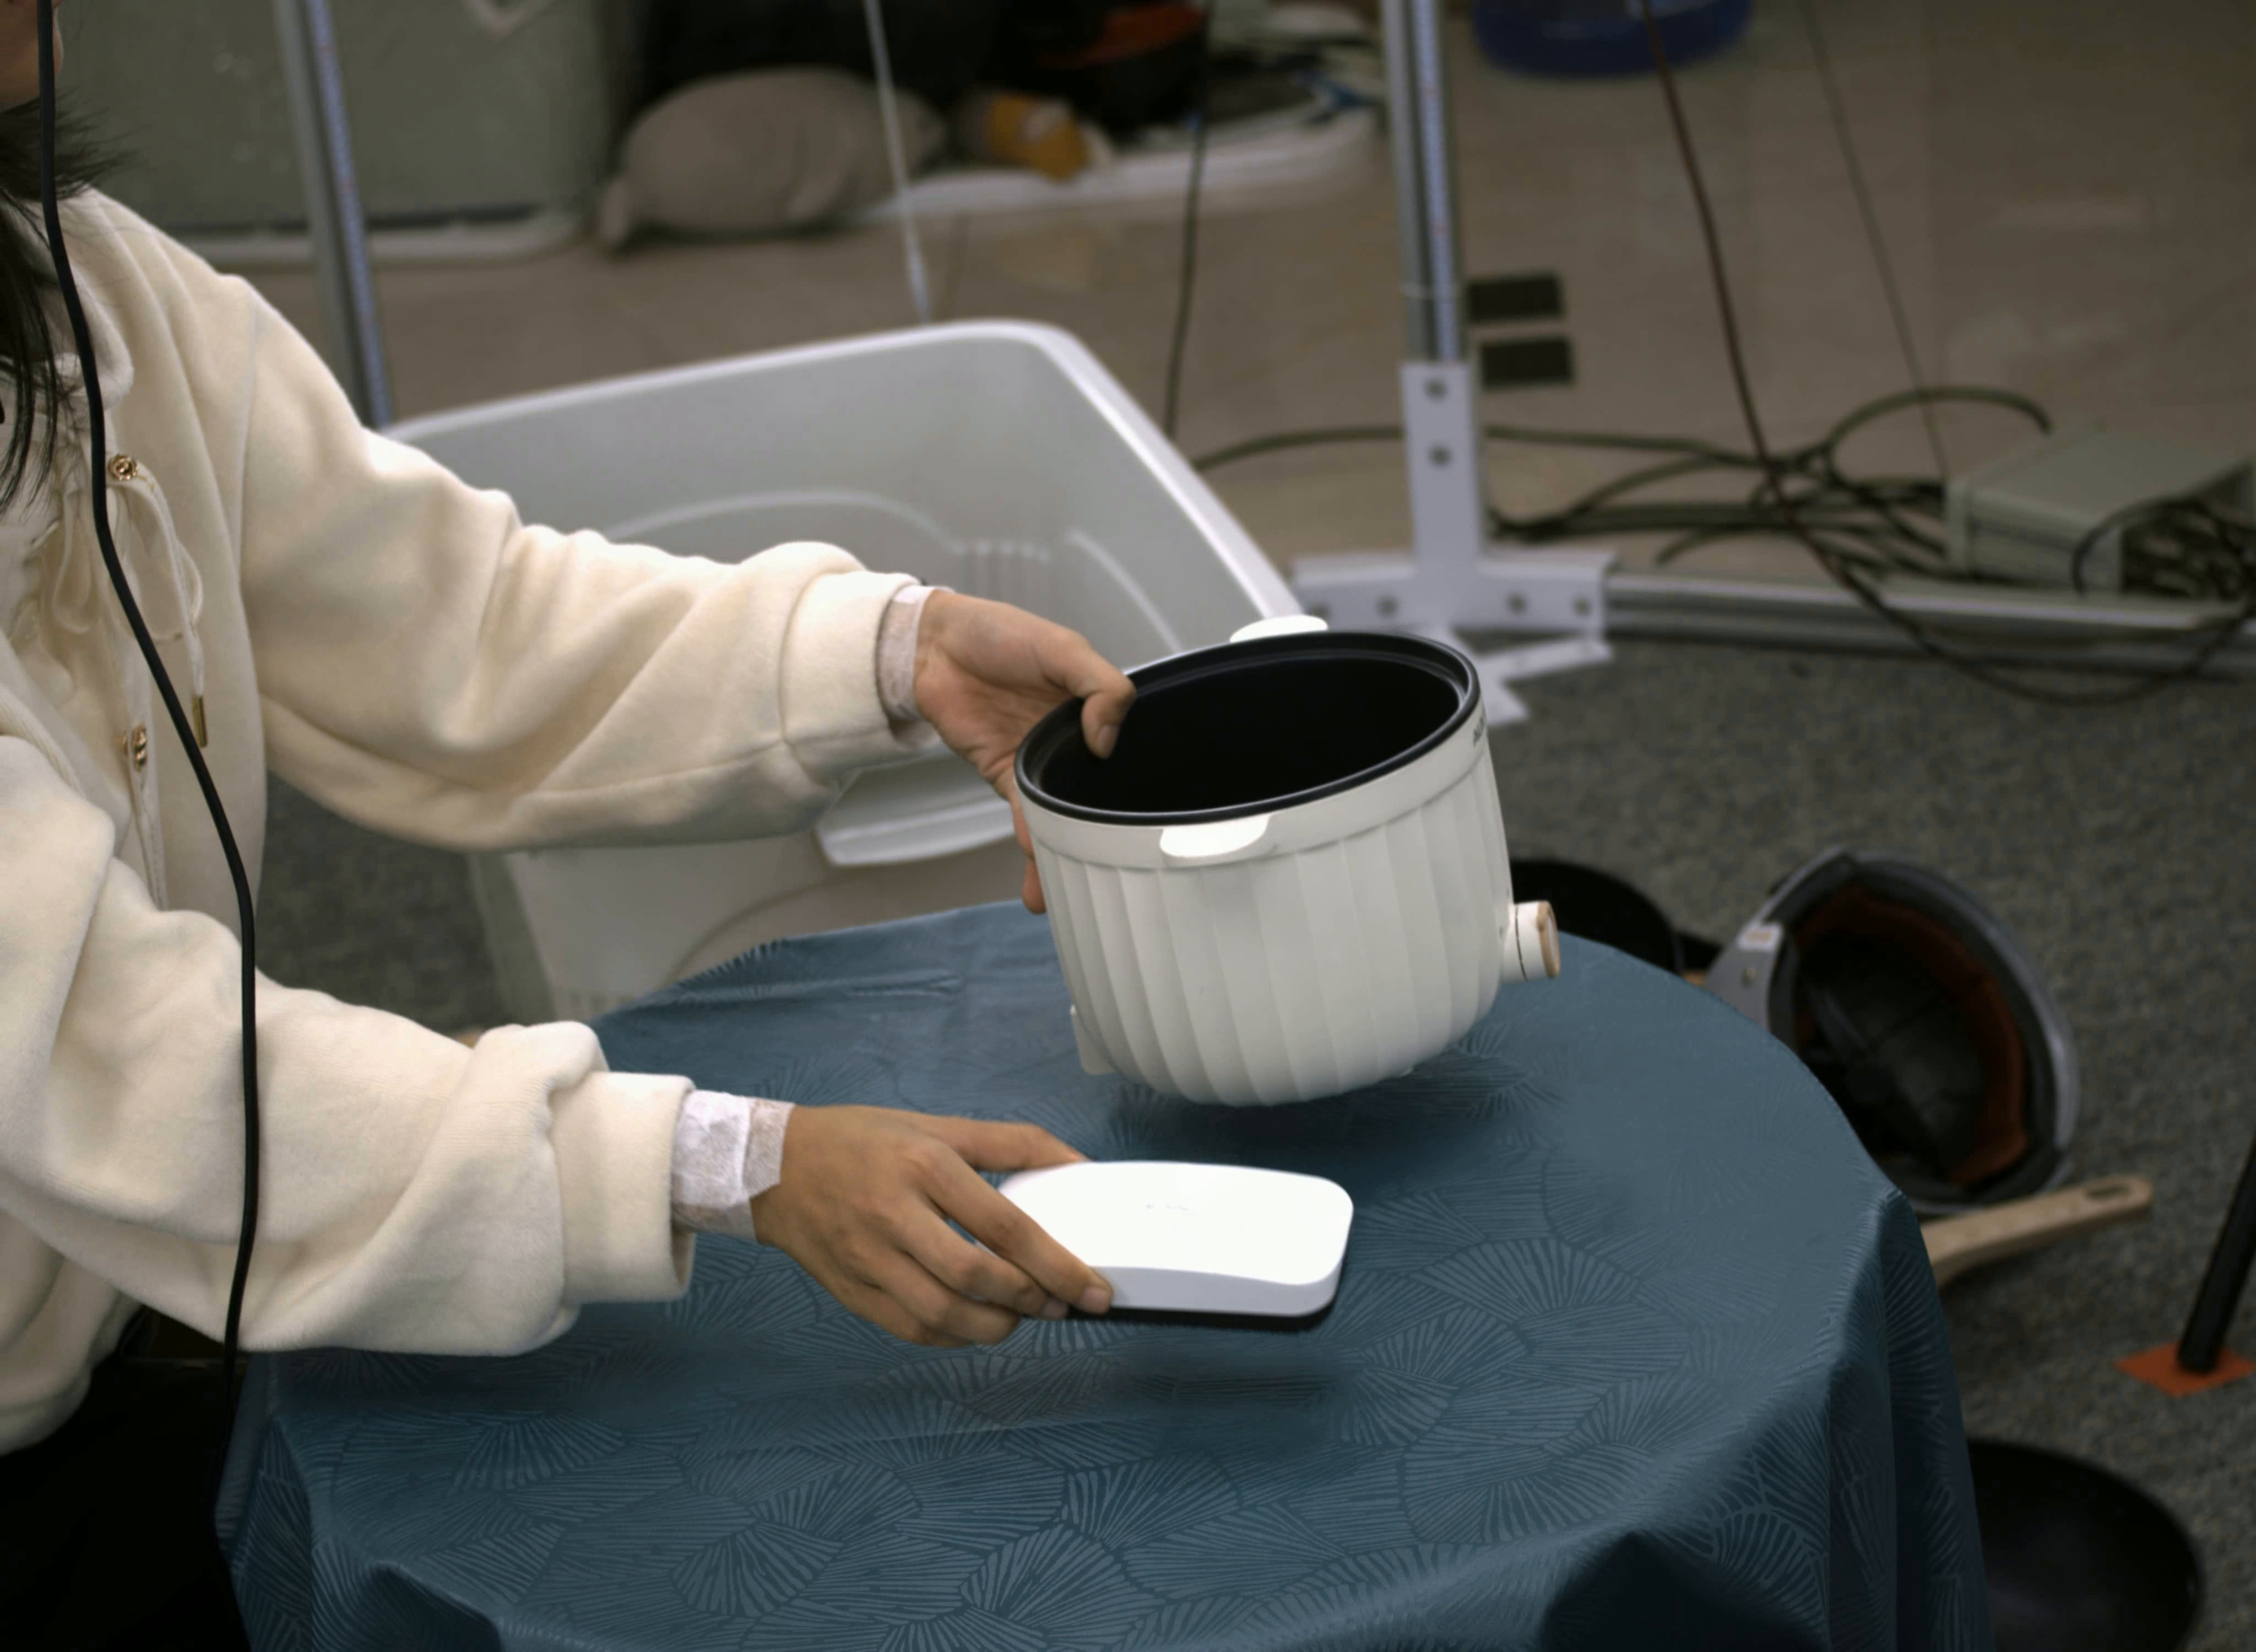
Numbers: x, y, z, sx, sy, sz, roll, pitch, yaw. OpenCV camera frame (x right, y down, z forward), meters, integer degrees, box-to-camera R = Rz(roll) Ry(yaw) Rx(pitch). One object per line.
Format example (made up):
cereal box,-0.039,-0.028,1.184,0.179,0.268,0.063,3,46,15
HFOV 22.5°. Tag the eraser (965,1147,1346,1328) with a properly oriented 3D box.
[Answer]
eraser,0.011,0.145,1.998,0.131,0.035,0.062,2,33,14

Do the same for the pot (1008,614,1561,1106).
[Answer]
pot,0.062,0.018,2.174,0.190,0.144,0.237,-11,23,12
